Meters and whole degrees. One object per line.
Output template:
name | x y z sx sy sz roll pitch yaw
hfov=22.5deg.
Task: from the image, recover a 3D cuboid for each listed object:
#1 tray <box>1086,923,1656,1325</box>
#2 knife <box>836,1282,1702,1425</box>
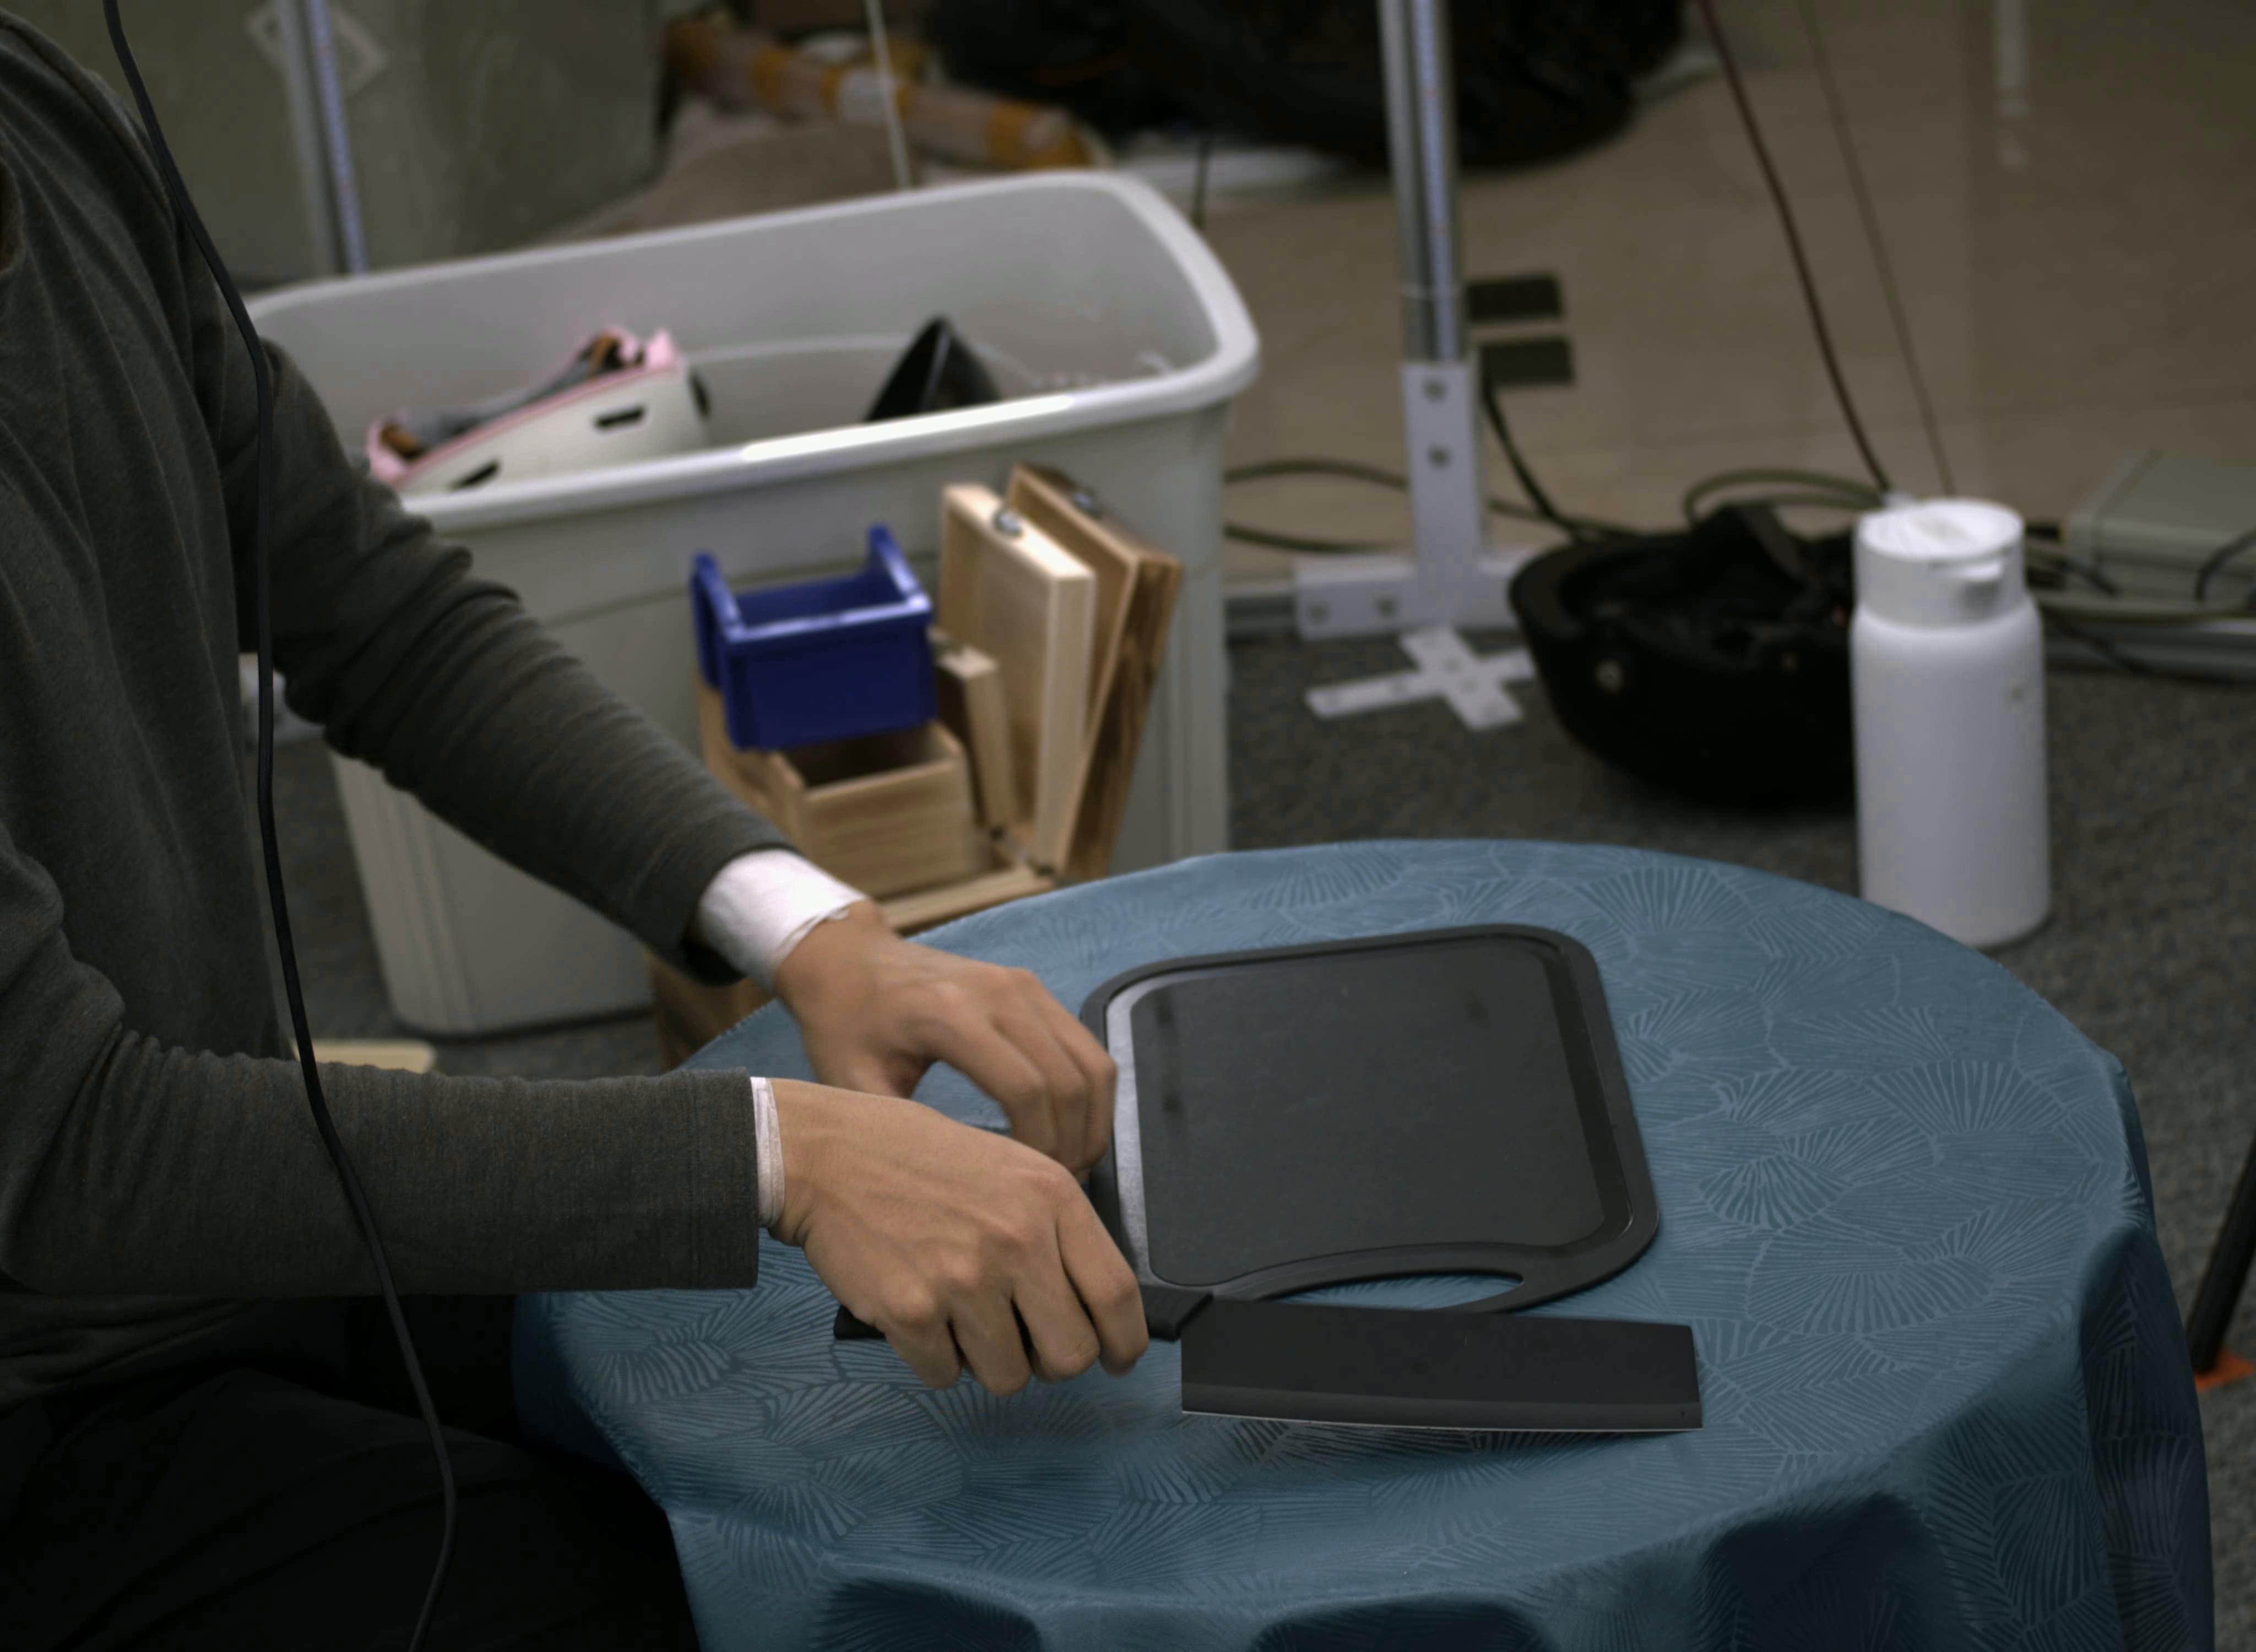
tray | 0.089 0.113 2.178 0.211 0.010 0.320 -6 25 2
knife | 0.049 0.185 1.980 0.302 0.021 0.079 4 30 3
